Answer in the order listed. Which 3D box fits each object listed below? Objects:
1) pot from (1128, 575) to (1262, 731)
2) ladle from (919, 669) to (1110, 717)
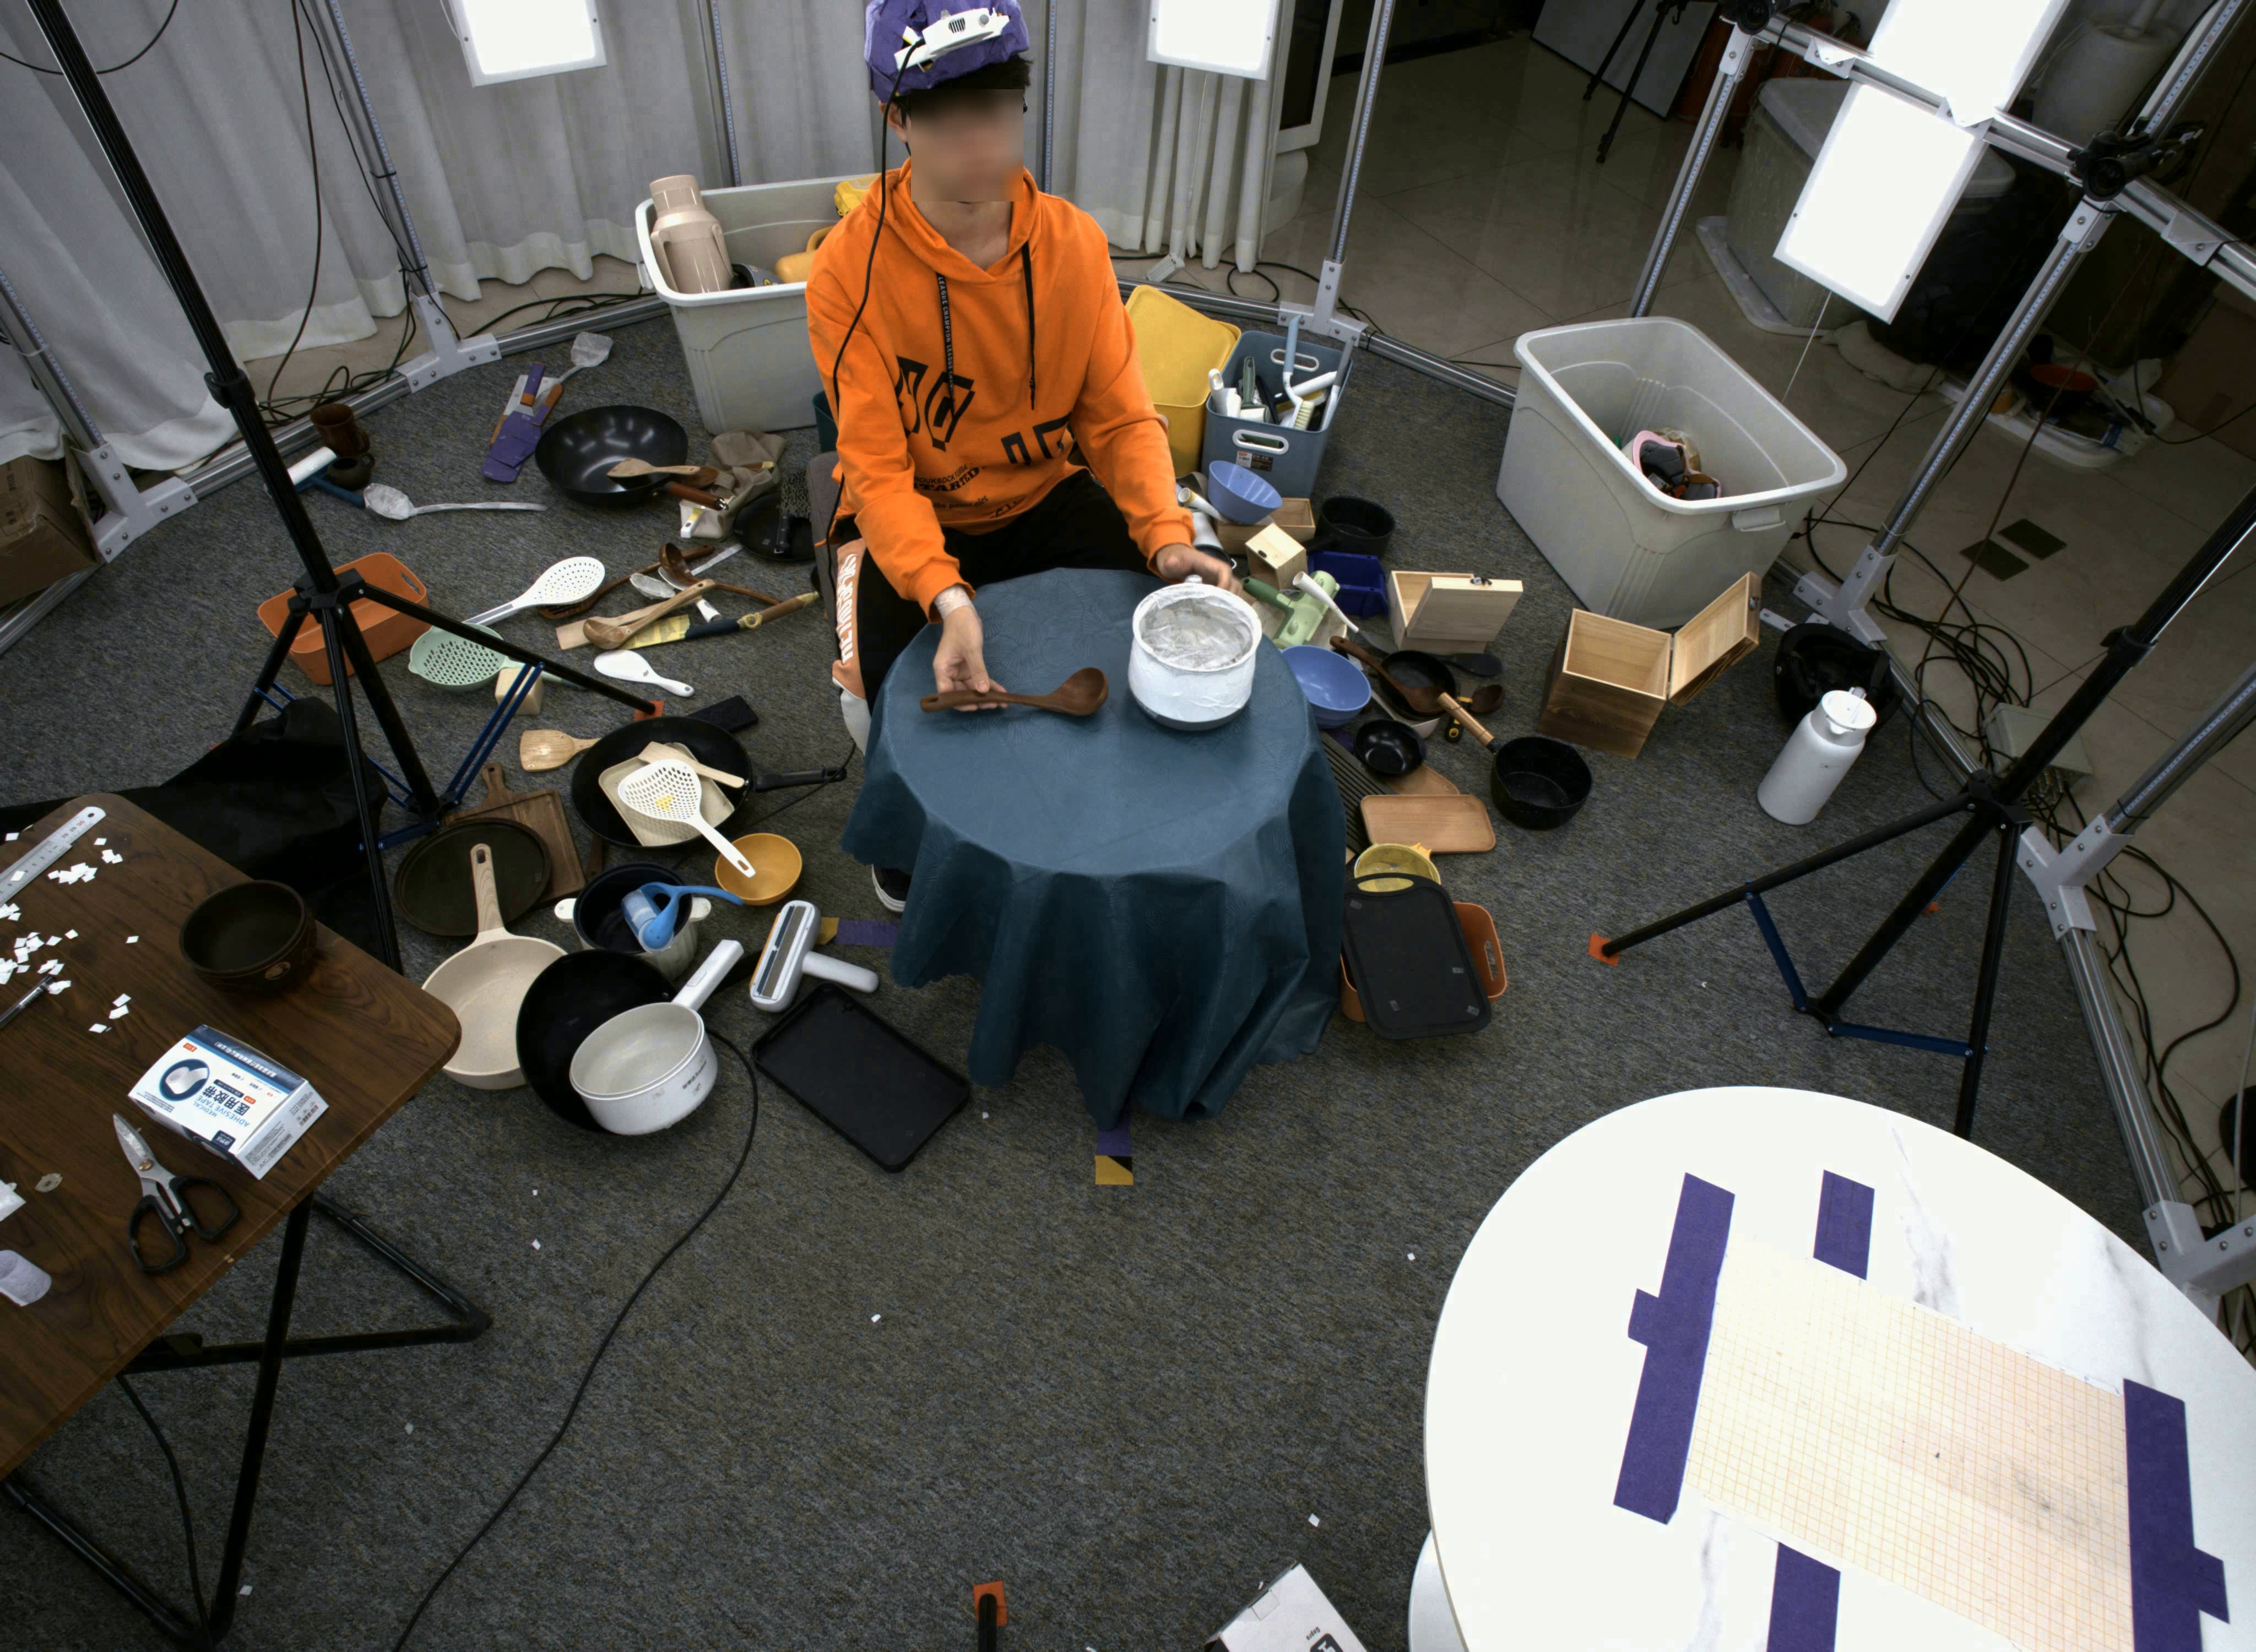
[{"bbox_3d":[0.089,-0.253,1.805,0.178,0.133,0.239,1,49,-4],"label":"pot"},{"bbox_3d":[-0.154,-0.184,1.766,0.259,0.063,0.078,0,45,-14],"label":"ladle"}]
